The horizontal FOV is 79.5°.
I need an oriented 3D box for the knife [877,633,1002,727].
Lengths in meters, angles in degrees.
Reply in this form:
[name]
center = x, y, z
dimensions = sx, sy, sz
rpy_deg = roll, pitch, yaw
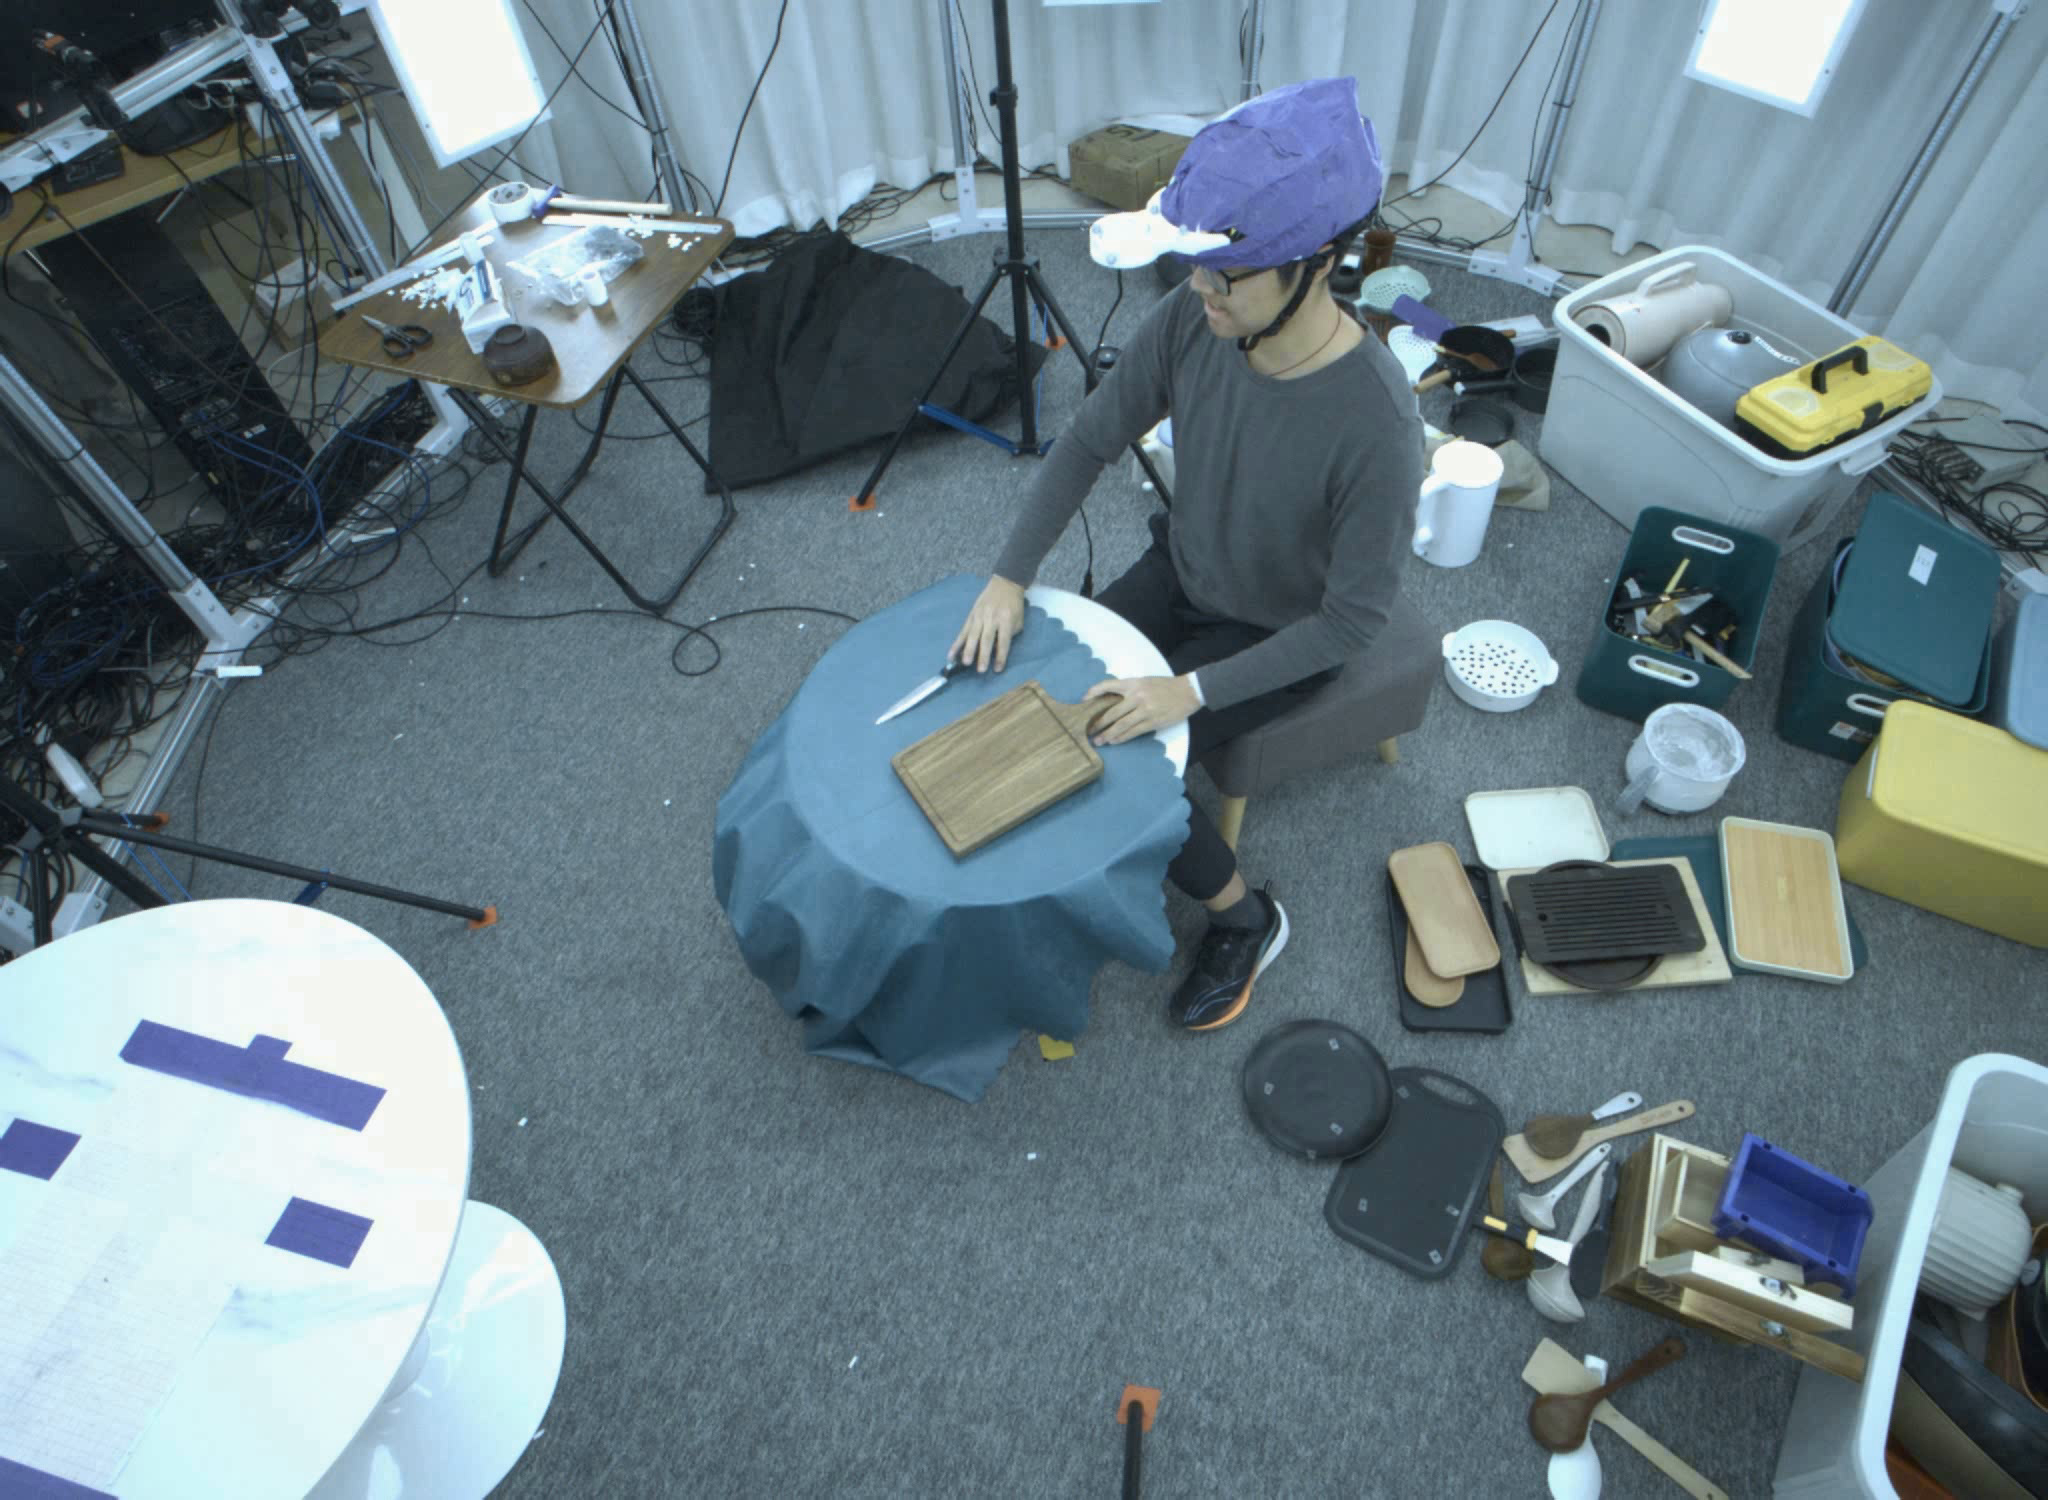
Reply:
[knife]
center = -0.131, -0.108, 1.860
dimensions = 0.239, 0.016, 0.024
rpy_deg = -38, 60, -16

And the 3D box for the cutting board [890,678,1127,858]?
[cutting board]
center = 0.002, -0.004, 1.772
dimensions = 0.354, 0.023, 0.197
rpy_deg = -30, 59, -15
